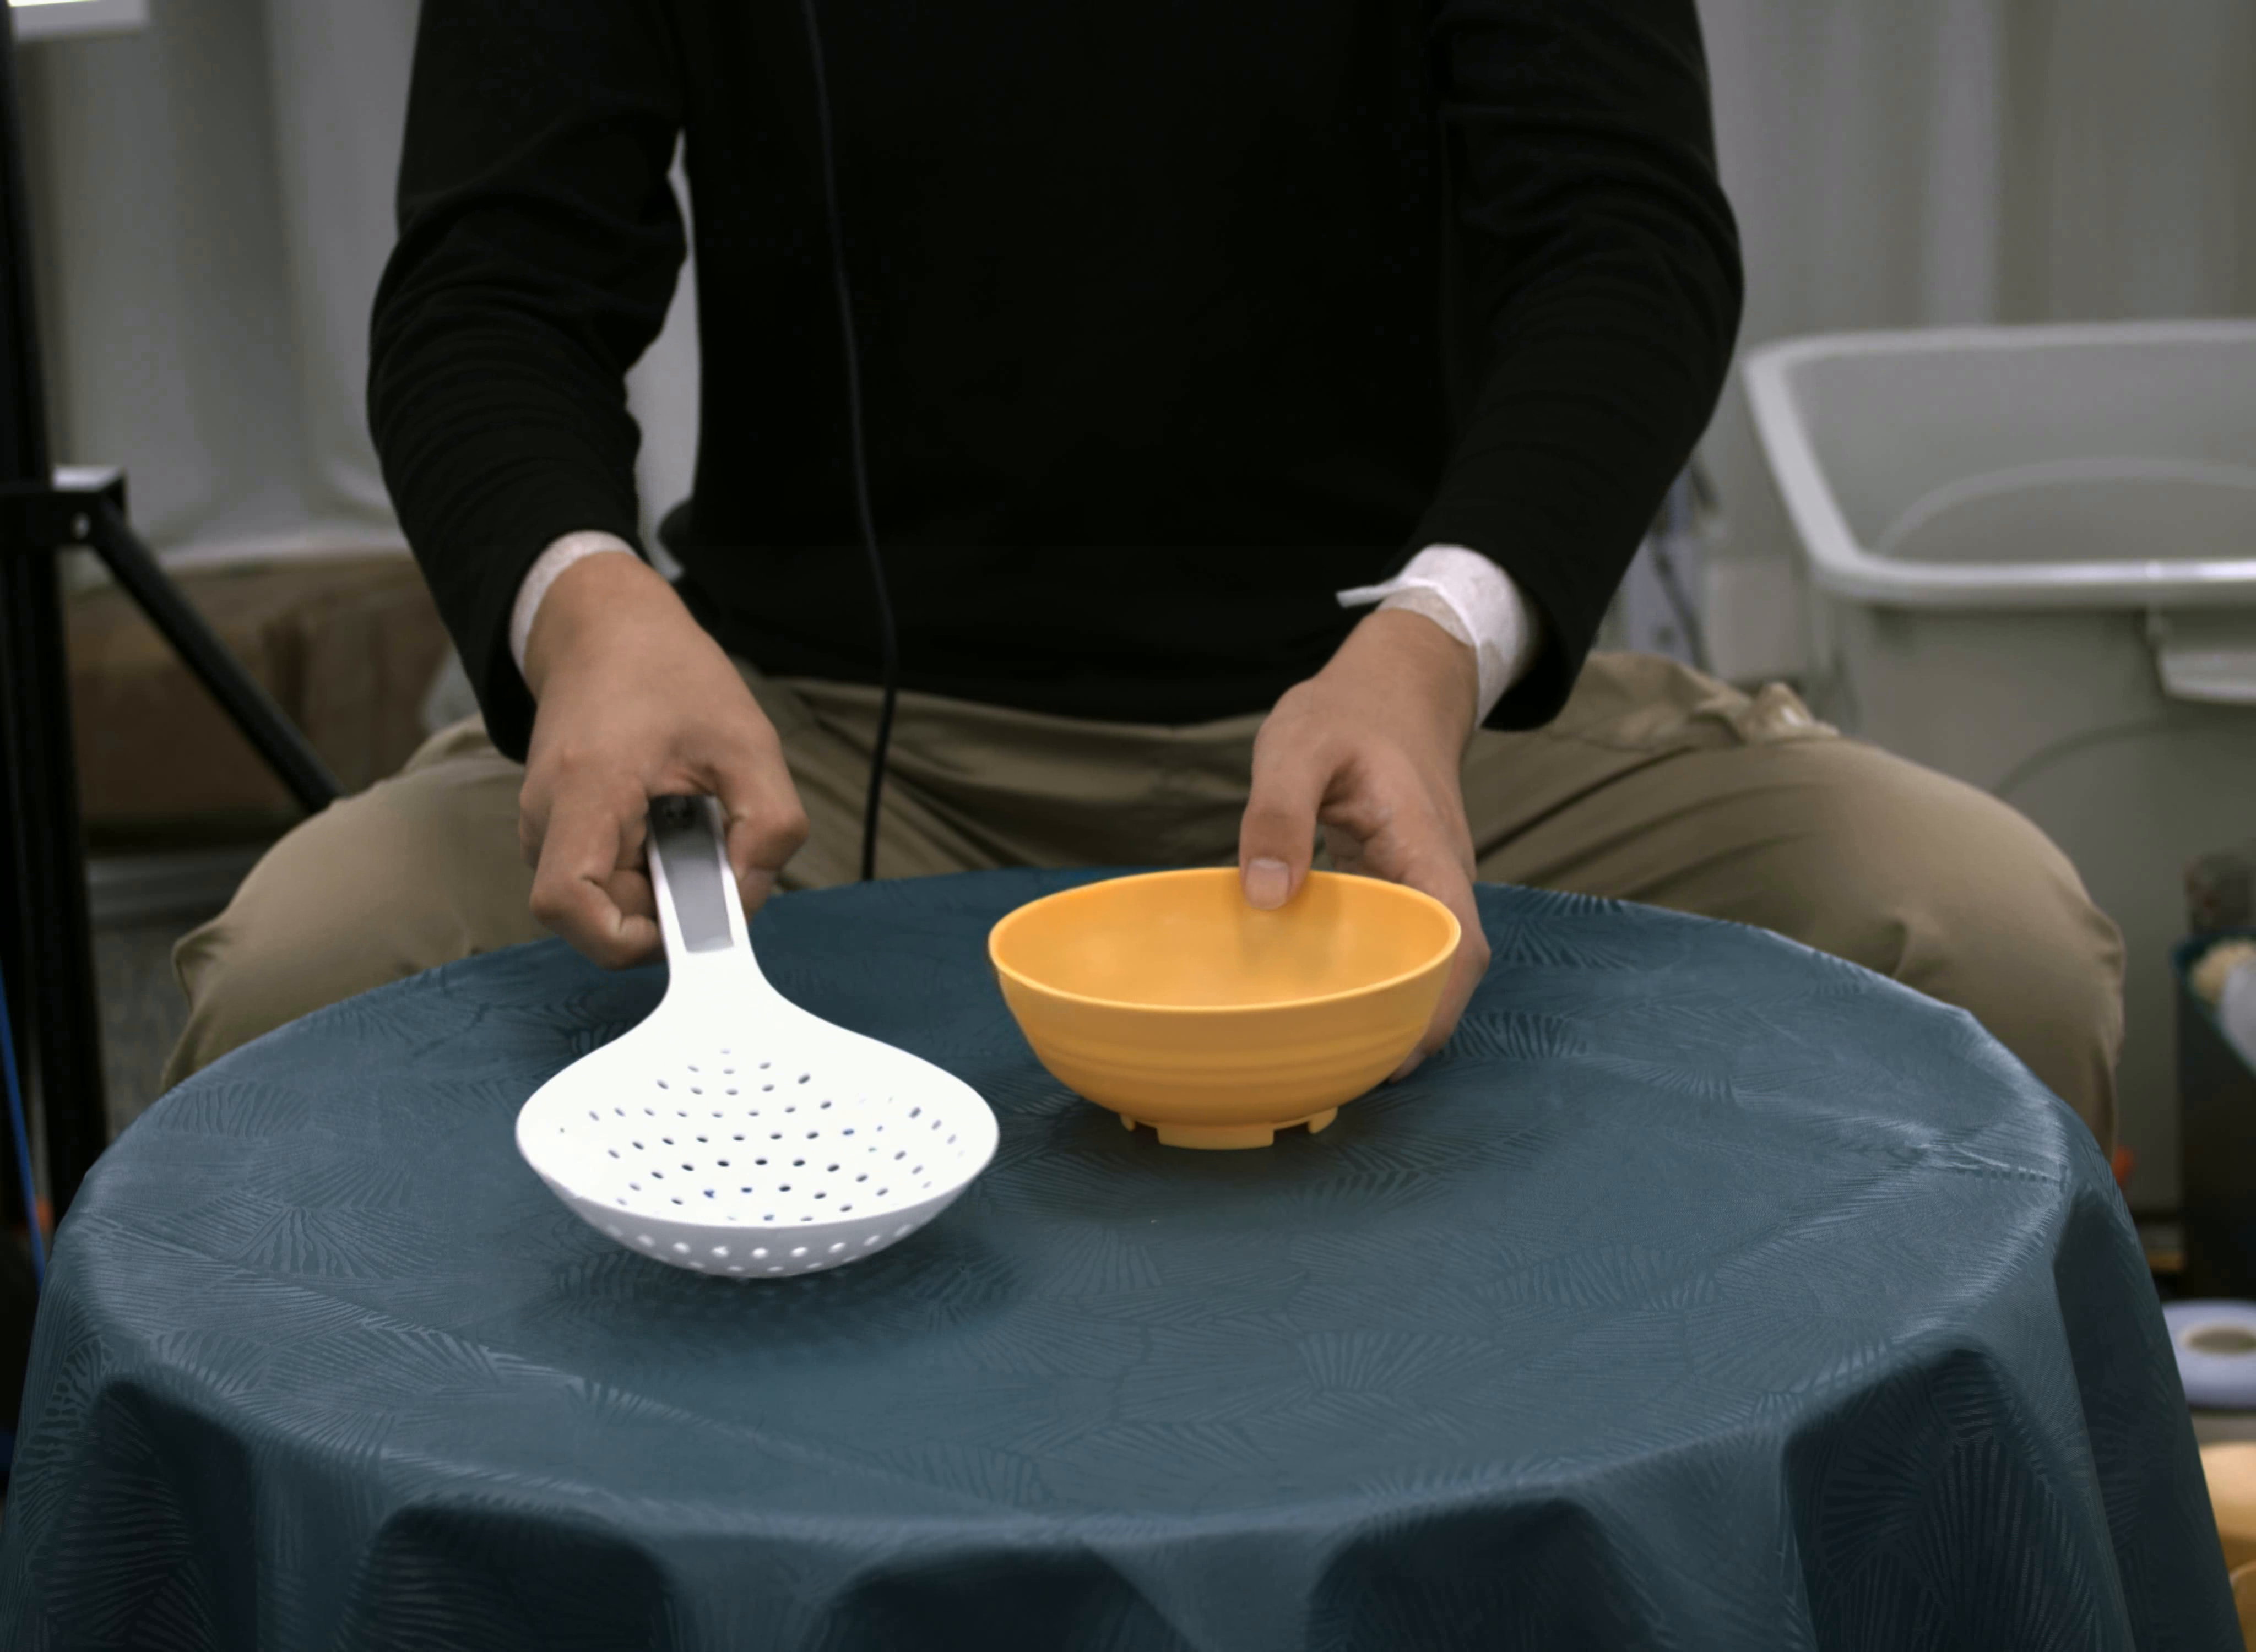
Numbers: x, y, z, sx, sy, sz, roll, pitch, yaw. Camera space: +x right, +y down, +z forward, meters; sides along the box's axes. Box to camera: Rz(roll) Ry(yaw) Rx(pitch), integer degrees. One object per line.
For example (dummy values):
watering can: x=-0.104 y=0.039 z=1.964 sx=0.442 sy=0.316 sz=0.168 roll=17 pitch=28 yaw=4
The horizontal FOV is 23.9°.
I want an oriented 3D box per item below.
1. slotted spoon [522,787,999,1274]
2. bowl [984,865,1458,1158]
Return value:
slotted spoon: x=-0.123 y=0.054 z=1.612 sx=0.134 sy=0.045 sz=0.354 roll=-1 pitch=25 yaw=-10
bowl: x=0.028 y=0.062 z=1.615 sx=0.144 sy=0.060 sz=0.146 roll=-1 pitch=17 yaw=-1
